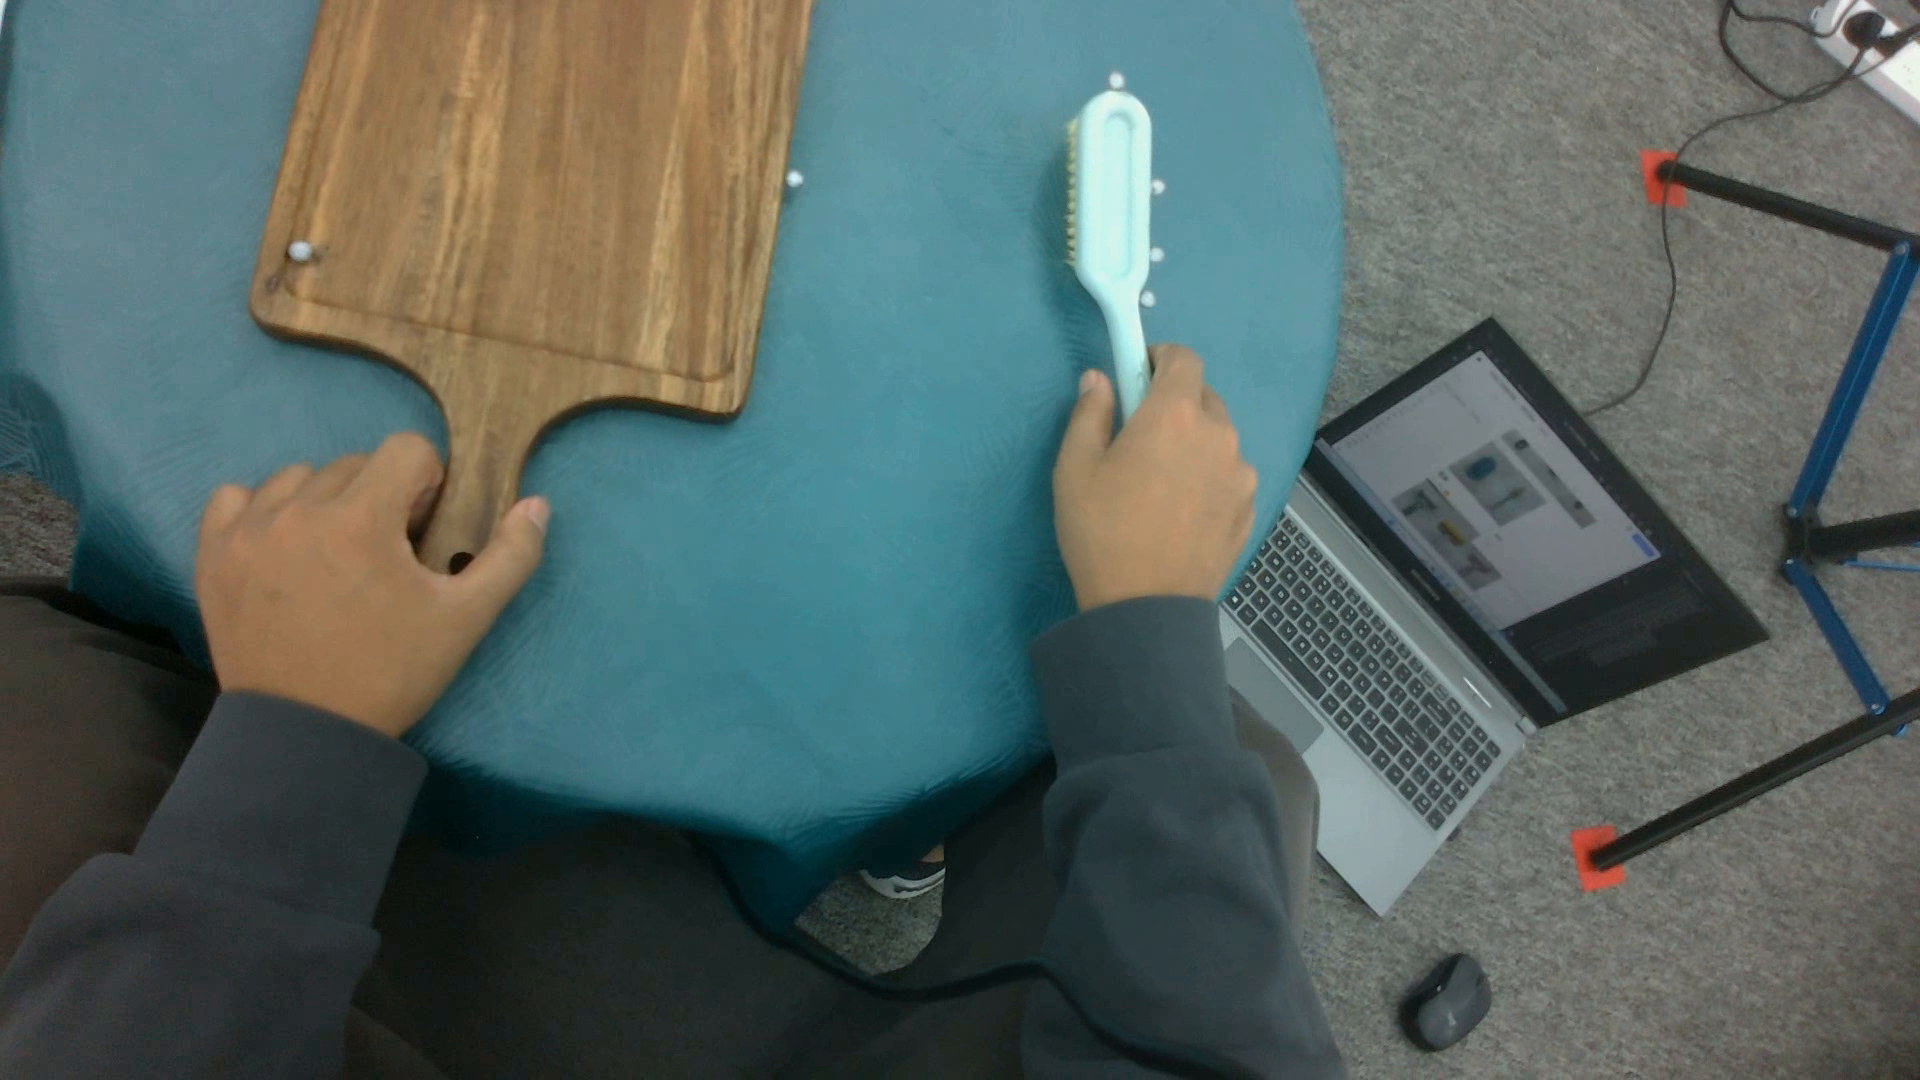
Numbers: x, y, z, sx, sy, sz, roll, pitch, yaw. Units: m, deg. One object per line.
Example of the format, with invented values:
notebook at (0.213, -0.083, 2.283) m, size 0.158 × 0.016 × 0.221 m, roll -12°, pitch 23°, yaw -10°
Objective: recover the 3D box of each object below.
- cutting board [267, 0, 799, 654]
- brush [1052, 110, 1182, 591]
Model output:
cutting board at (-0.184, -0.126, 0.603) m, size 0.201 × 0.023 × 0.353 m, roll 8°, pitch 78°, yaw -13°
brush at (0.076, -0.089, 0.654) m, size 0.038 × 0.049 × 0.229 m, roll -7°, pitch 82°, yaw -16°
